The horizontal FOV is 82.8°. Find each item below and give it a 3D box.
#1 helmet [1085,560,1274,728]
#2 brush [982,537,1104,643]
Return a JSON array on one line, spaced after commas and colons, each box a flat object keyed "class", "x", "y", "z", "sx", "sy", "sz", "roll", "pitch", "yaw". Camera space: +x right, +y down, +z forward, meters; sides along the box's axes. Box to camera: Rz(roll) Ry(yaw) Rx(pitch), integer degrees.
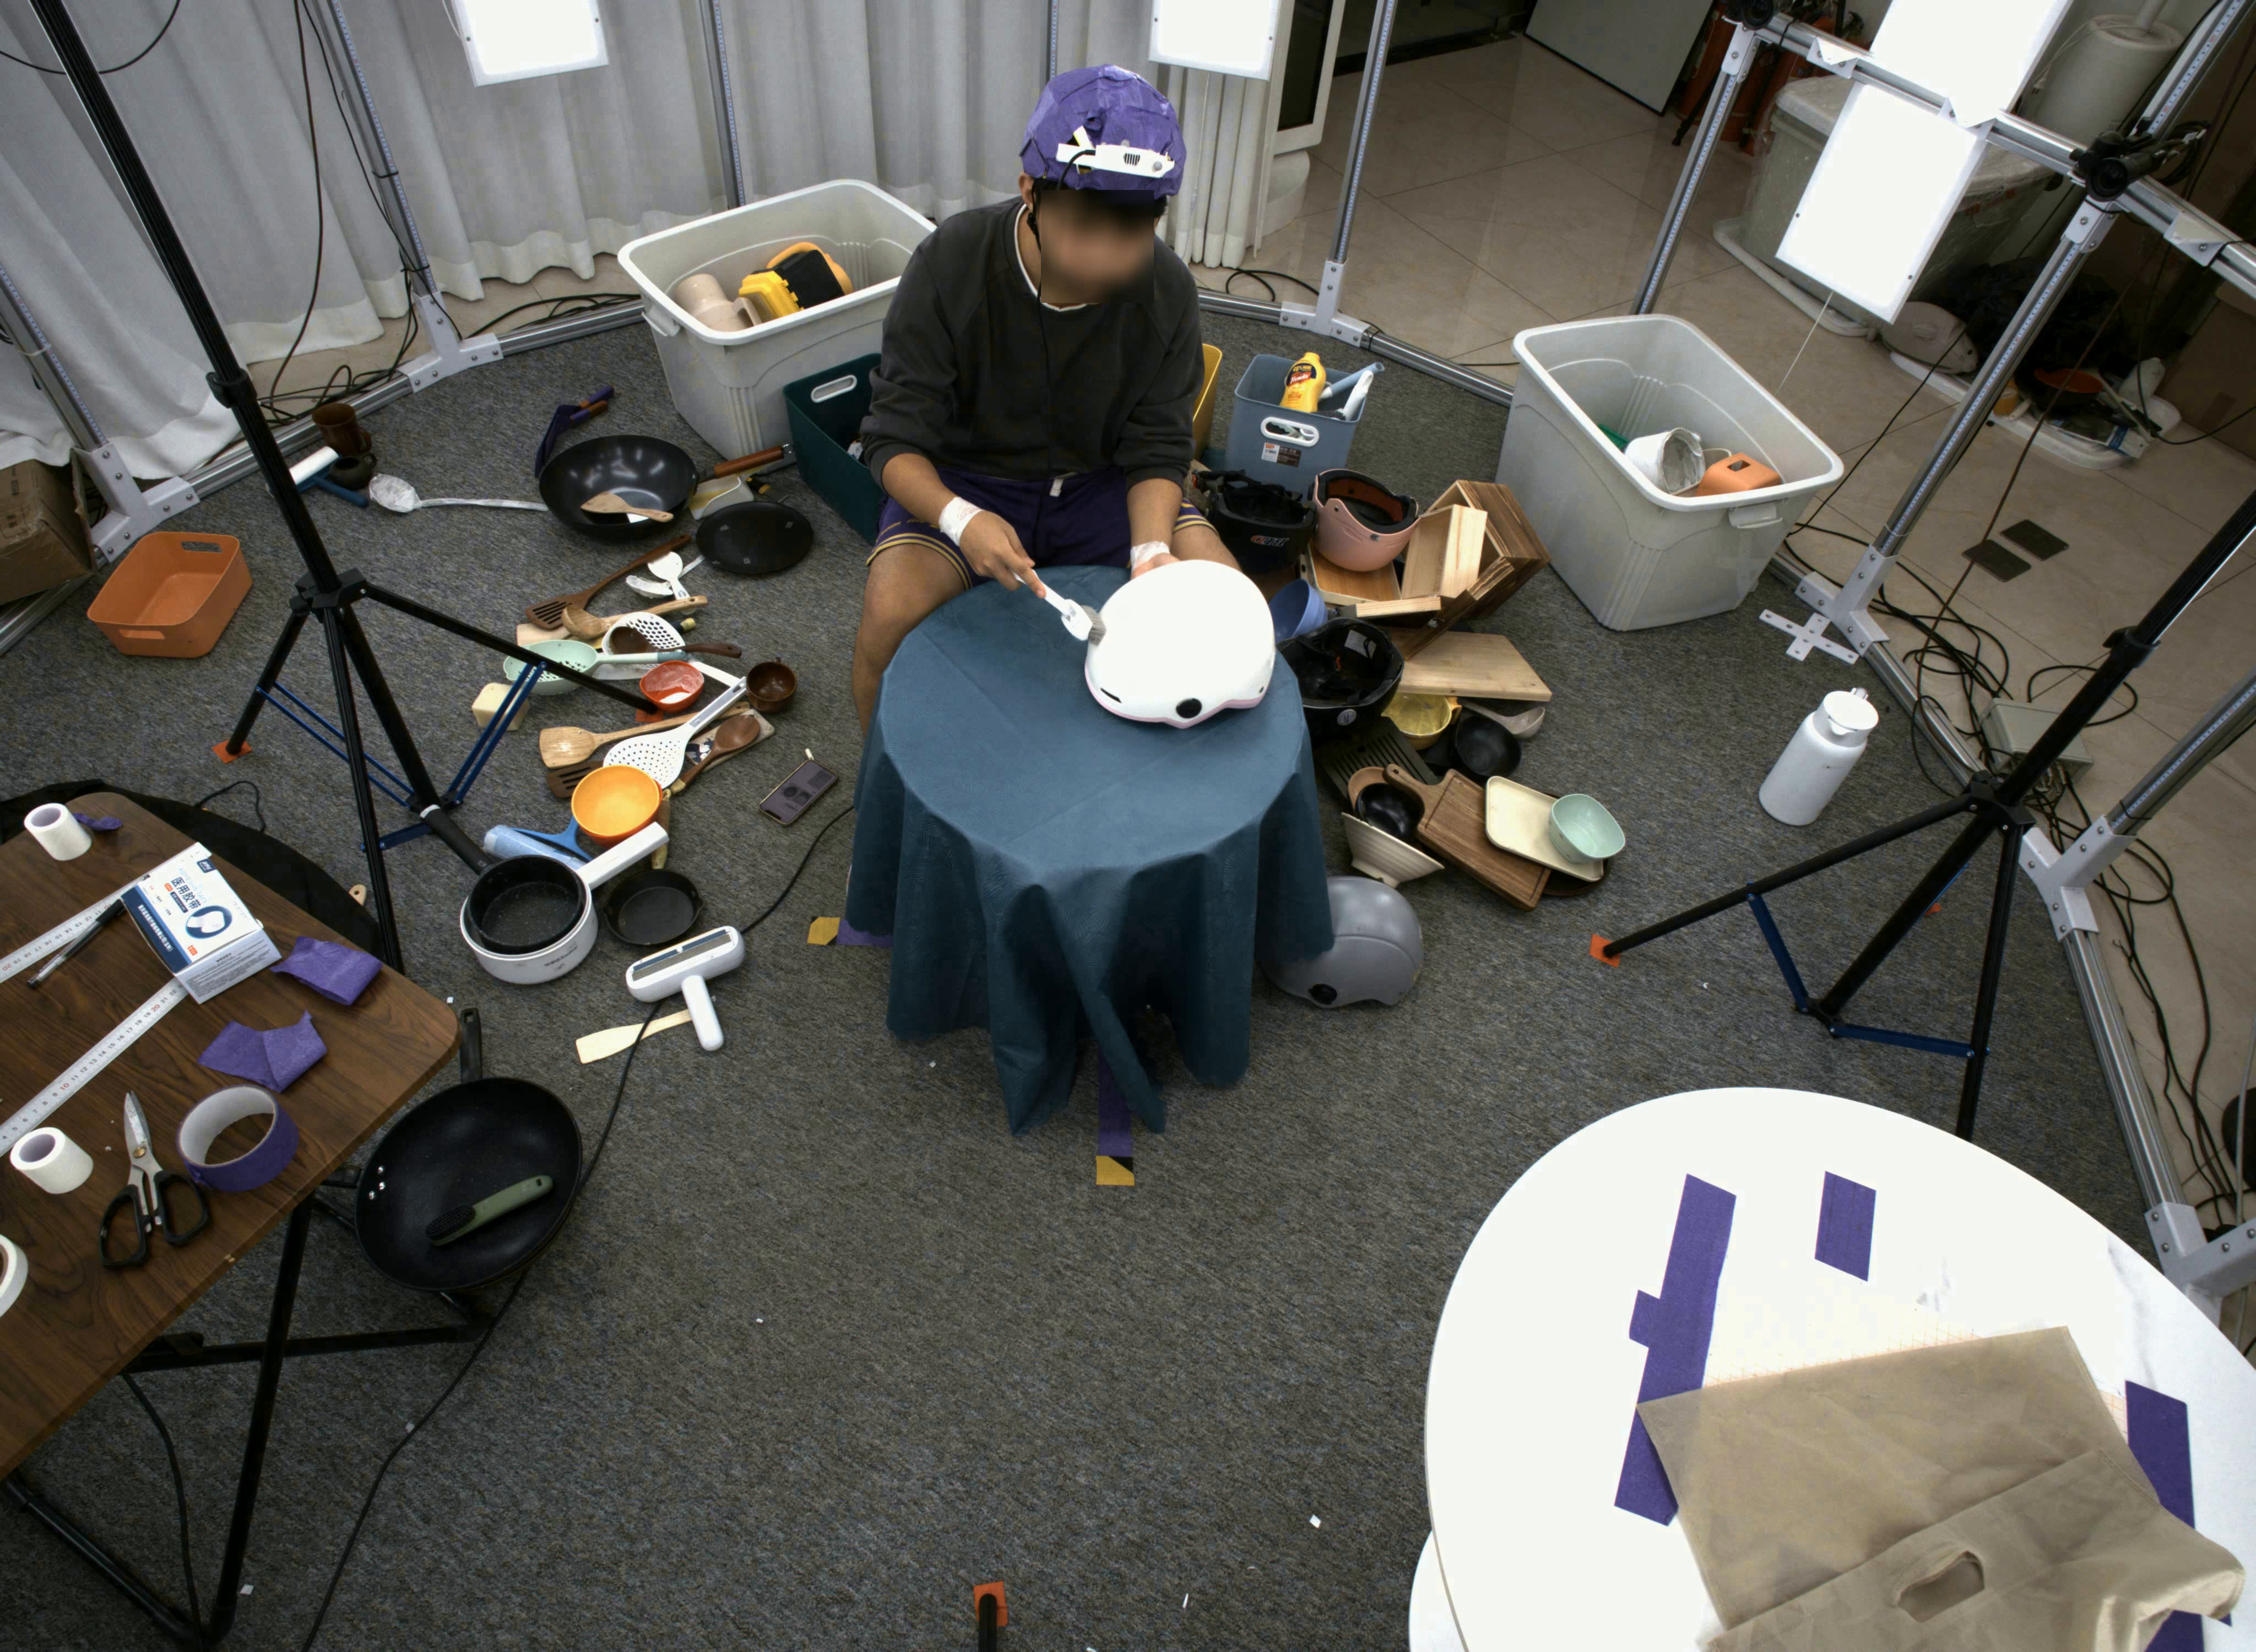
[{"class": "helmet", "x": 0.078, "y": -0.270, "z": 1.793, "sx": 0.268, "sy": 0.163, "sz": 0.243, "roll": -9, "pitch": 54, "yaw": -12}, {"class": "brush", "x": -0.119, "y": -0.336, "z": 1.812, "sx": 0.050, "sy": 0.034, "sz": 0.248, "roll": -4, "pitch": 40, "yaw": -50}]
